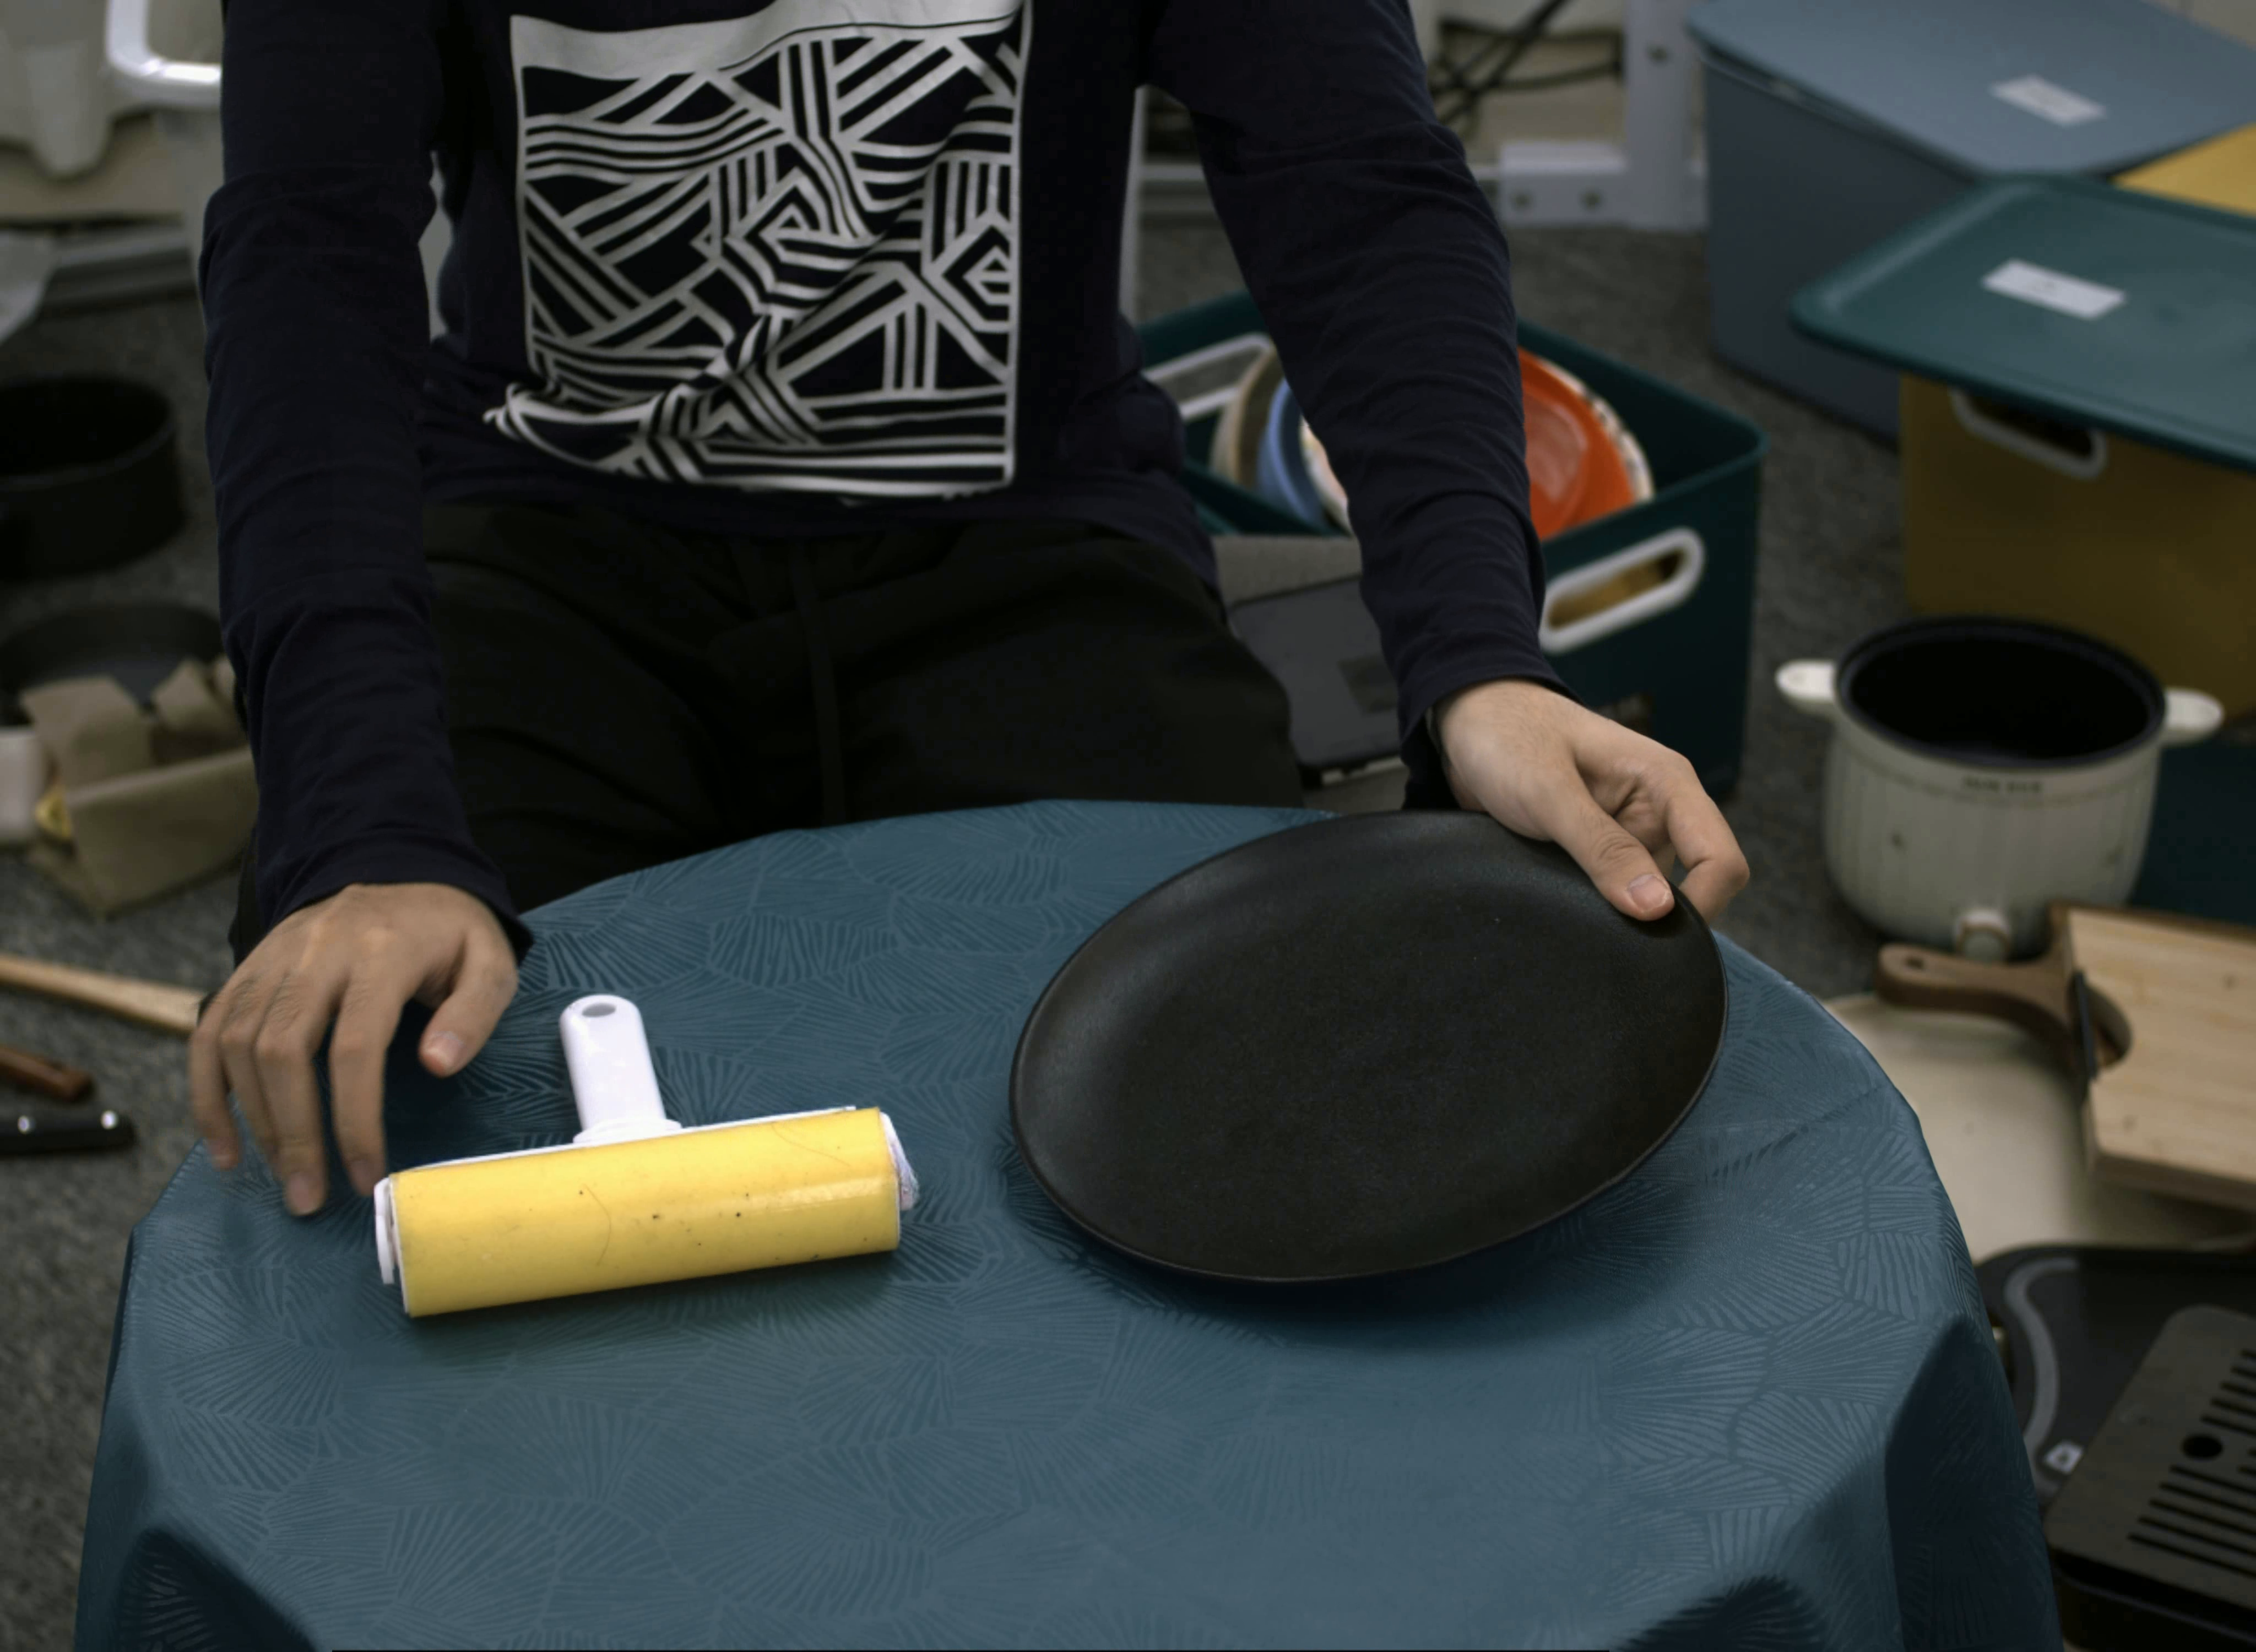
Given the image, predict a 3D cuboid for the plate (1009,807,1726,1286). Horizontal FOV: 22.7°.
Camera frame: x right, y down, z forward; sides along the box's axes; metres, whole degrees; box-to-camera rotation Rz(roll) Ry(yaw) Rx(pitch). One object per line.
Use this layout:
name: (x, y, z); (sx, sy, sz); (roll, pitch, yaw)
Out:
plate: (0.080, 0.076, 1.875); (0.243, 0.023, 0.249); (-9, 35, 7)

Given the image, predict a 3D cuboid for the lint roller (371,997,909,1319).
lint roller: (-0.173, 0.093, 1.880); (0.174, 0.051, 0.194); (-7, 31, -10)
